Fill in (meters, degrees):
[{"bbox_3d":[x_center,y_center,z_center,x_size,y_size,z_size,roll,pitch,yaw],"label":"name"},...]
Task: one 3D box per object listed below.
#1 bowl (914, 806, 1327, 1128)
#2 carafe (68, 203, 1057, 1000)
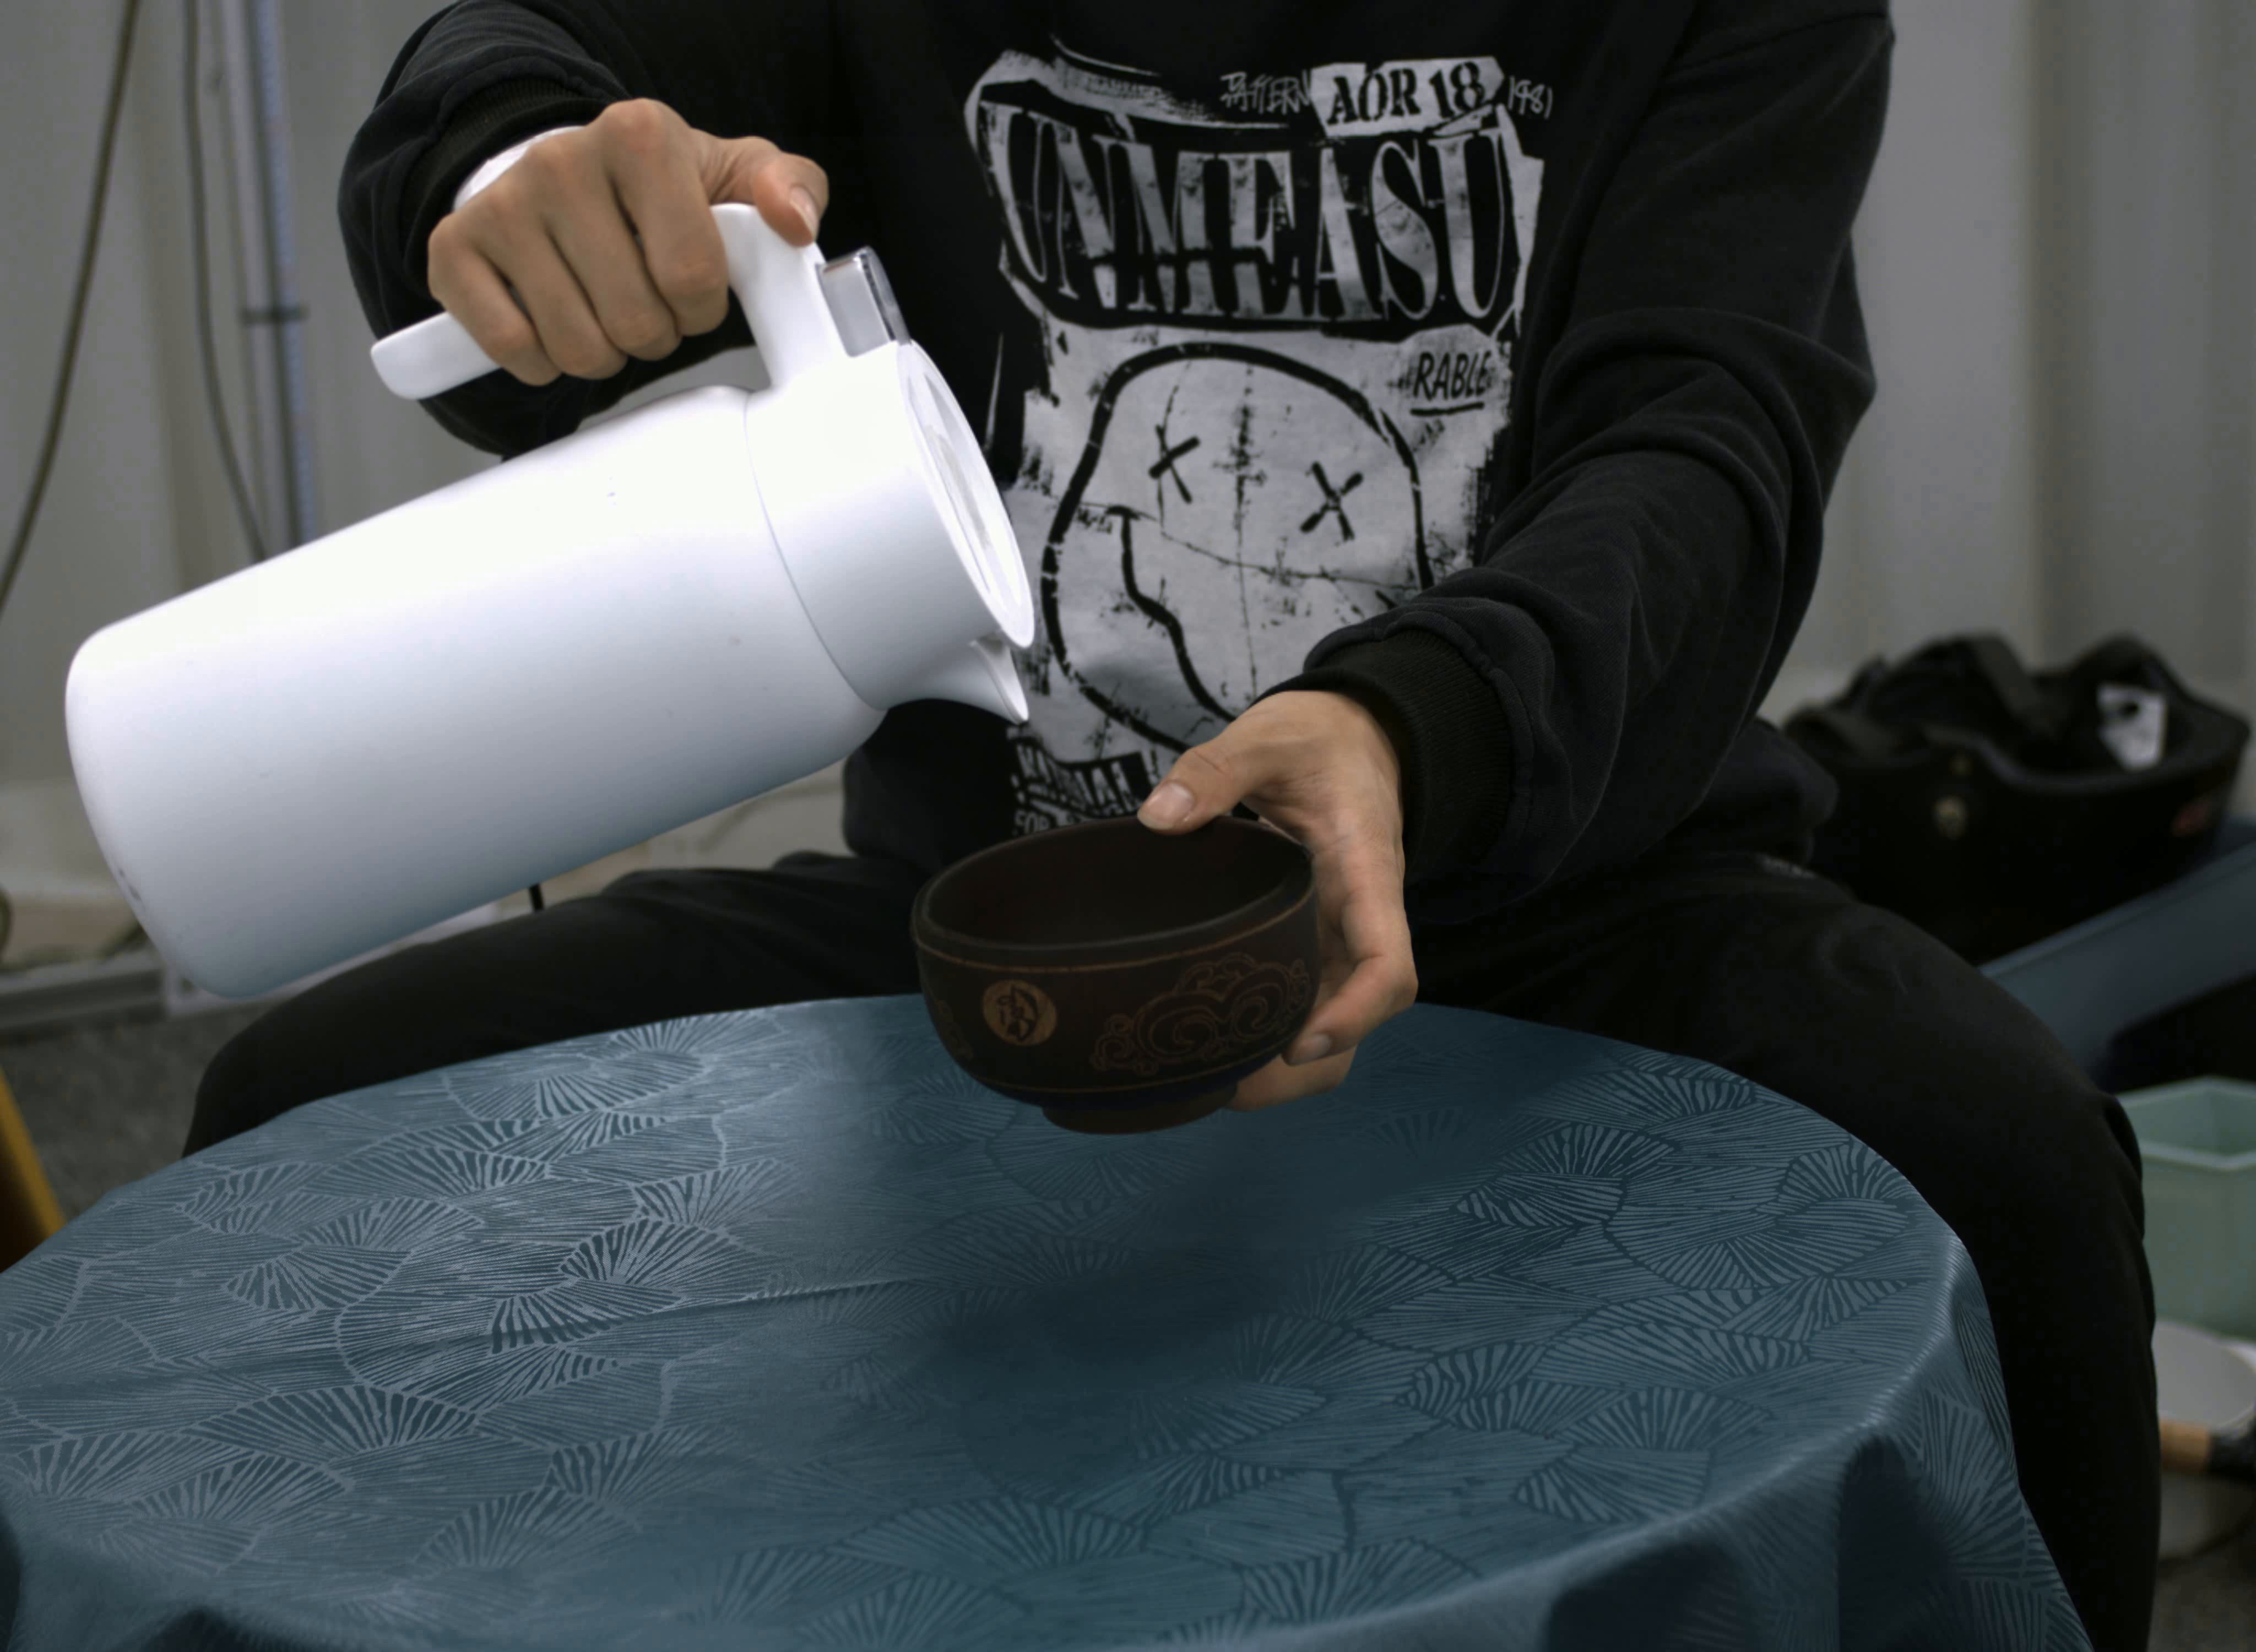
[{"bbox_3d":[0.000,0.045,1.573,0.117,0.069,0.119,-7,16,2],"label":"bowl"},{"bbox_3d":[-0.172,-0.064,1.587,0.268,0.173,0.124,-22,3,12],"label":"carafe"}]
